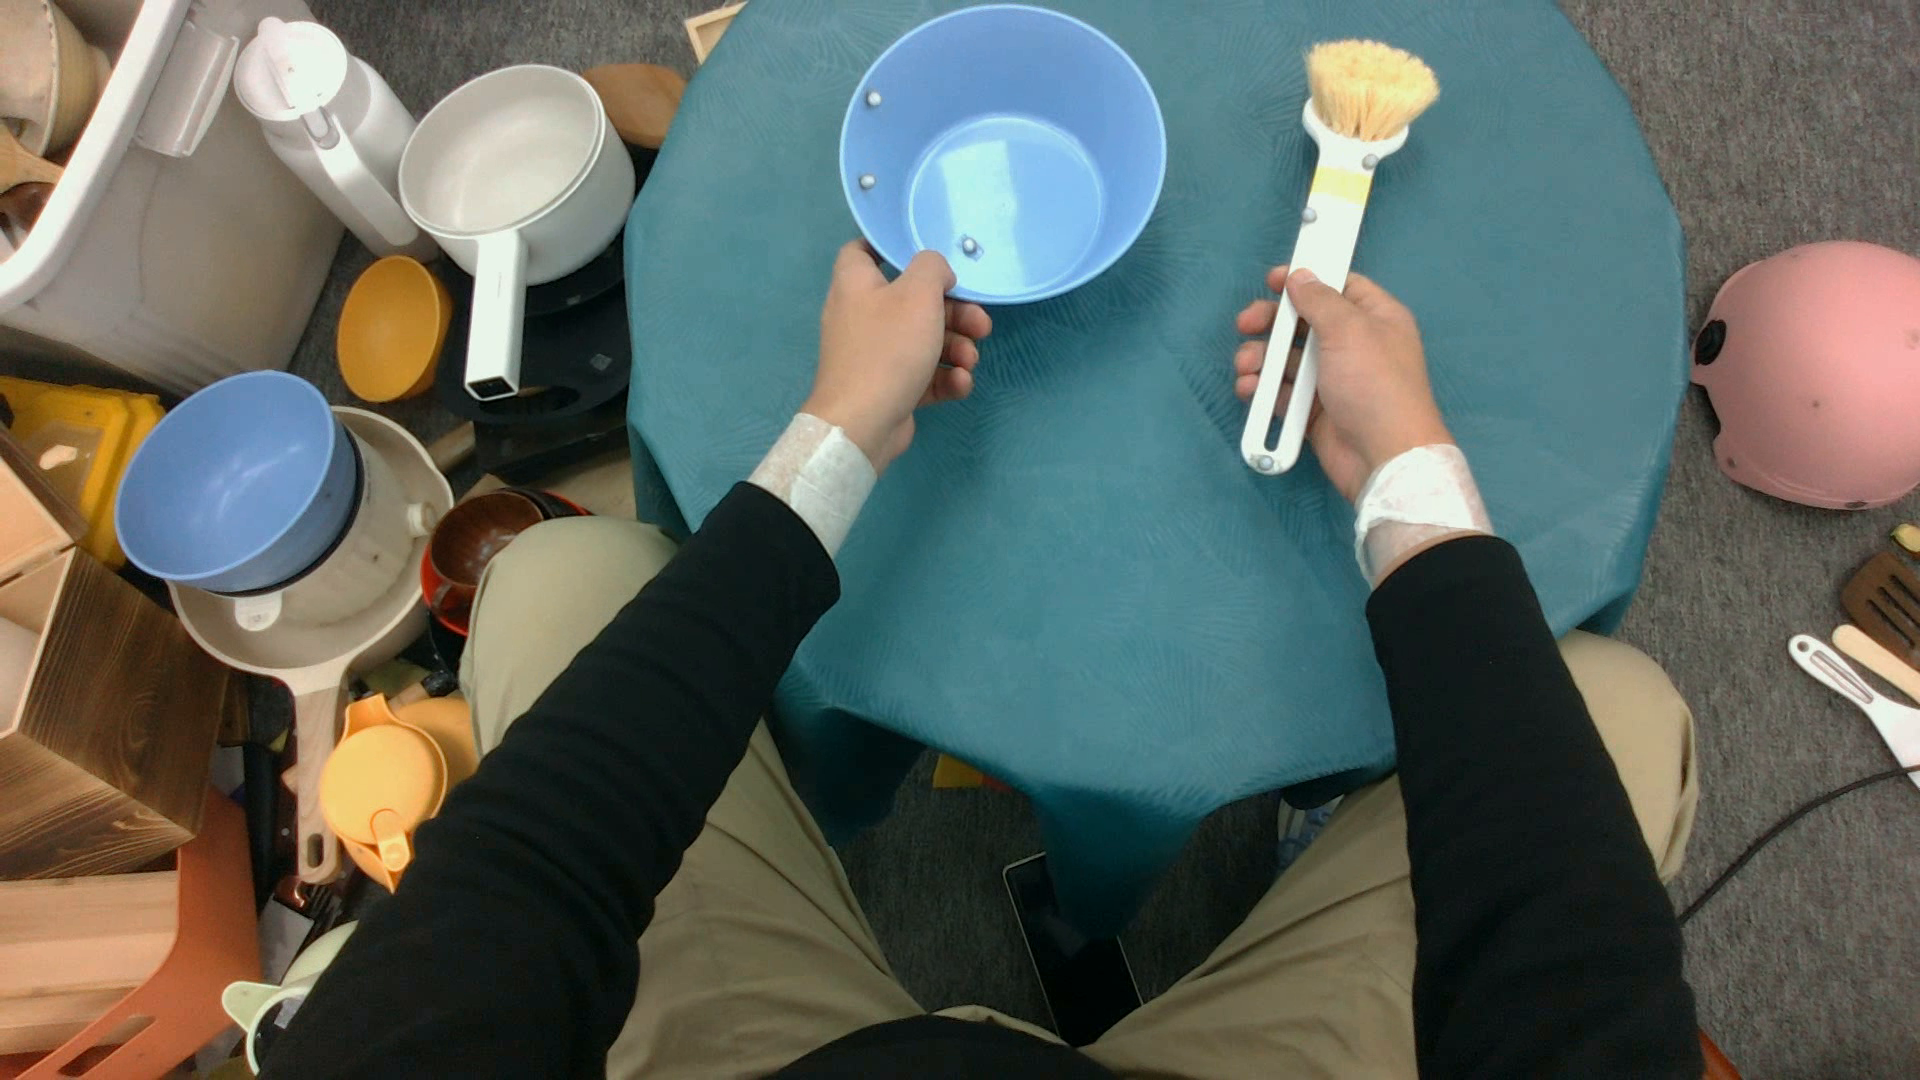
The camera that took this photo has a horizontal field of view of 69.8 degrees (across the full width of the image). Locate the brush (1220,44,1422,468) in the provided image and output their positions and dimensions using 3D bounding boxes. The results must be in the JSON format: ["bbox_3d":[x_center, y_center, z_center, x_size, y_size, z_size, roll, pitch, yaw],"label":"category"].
[{"bbox_3d":[0.189,-0.162,0.739,0.068,0.056,0.267,17,67,11],"label":"brush"}]

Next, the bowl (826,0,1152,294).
[{"bbox_3d":[0.016,-0.206,0.769,0.176,0.070,0.176,-1,76,2],"label":"bowl"}]
